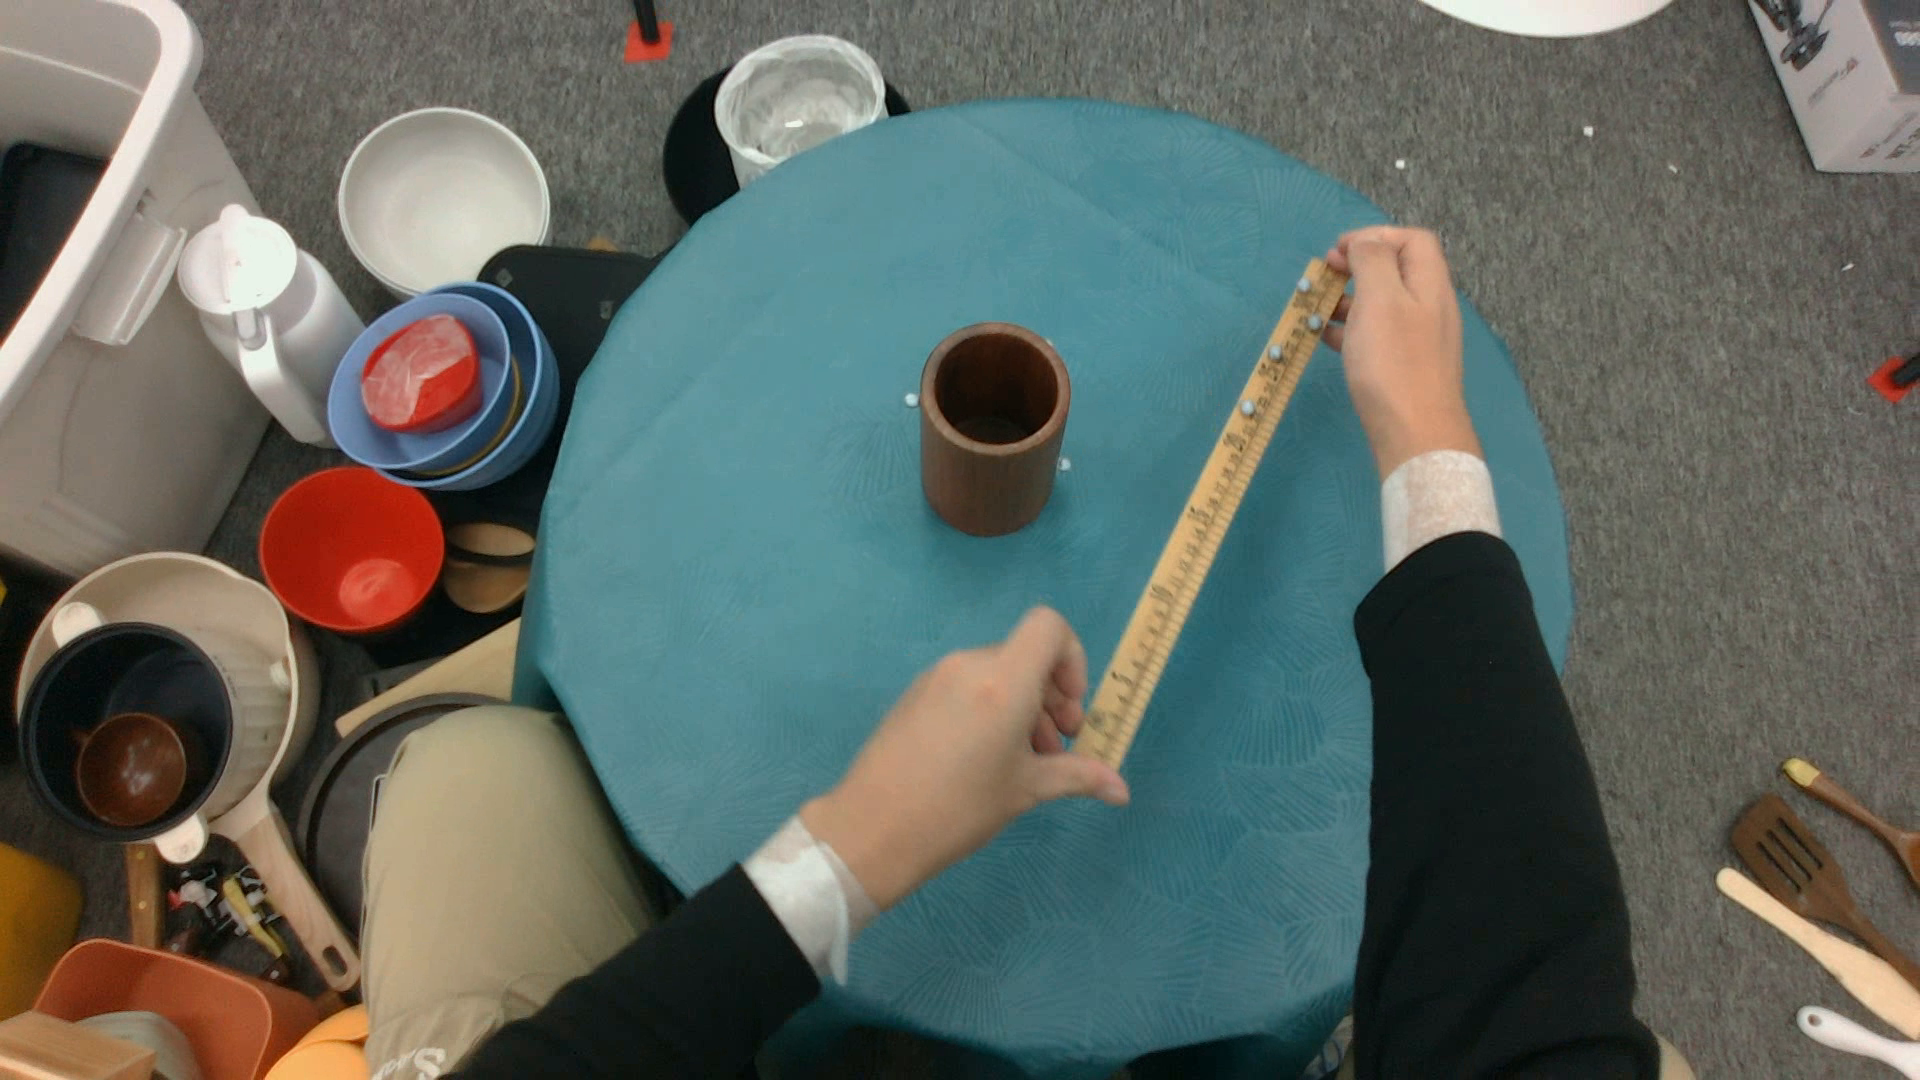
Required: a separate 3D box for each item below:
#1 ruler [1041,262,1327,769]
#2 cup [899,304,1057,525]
[{"bbox_3d":[0.127,-0.027,0.735,0.027,0.022,0.333,24,66,15],"label":"ruler"},{"bbox_3d":[0.008,-0.067,0.764,0.088,0.118,0.088,1,68,-1],"label":"cup"}]
